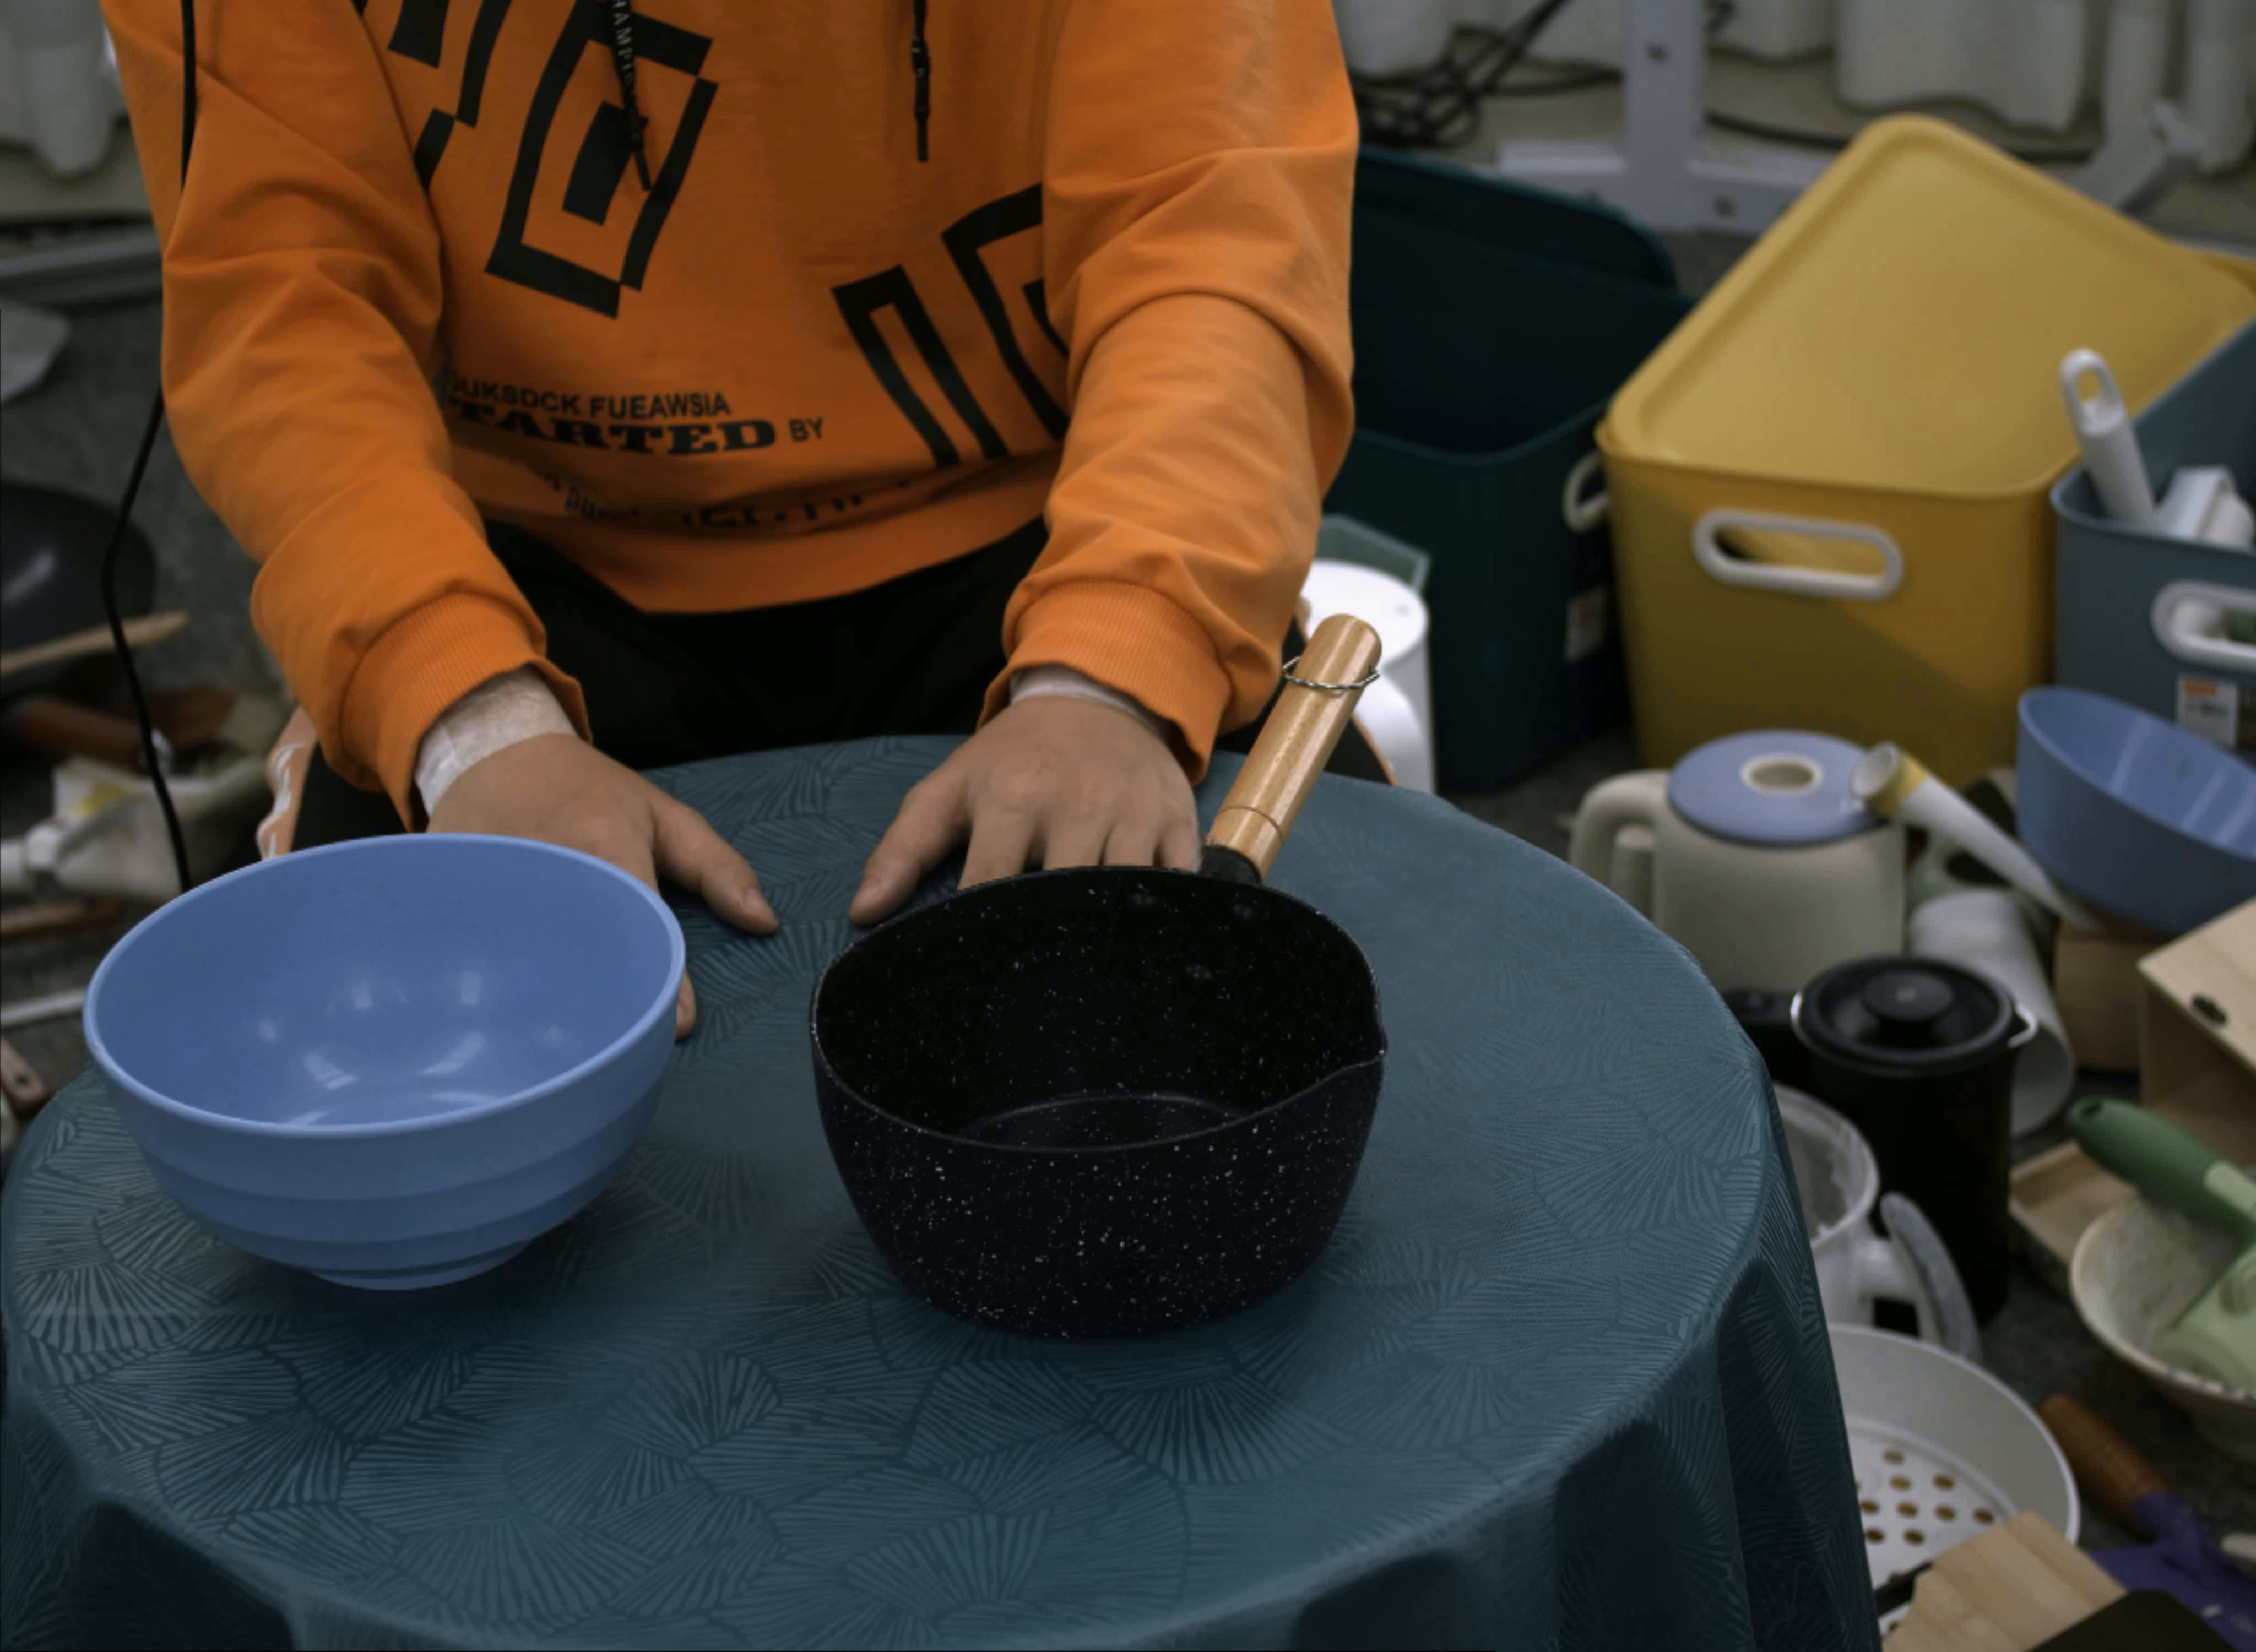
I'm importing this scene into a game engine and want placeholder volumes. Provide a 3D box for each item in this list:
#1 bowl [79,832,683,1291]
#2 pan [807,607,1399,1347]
[{"bbox_3d":[-0.239,0.089,1.846,0.195,0.094,0.199,-3,28,2],"label":"bowl"},{"bbox_3d":[0.018,0.047,1.889,0.206,0.107,0.349,6,30,20],"label":"pan"}]
